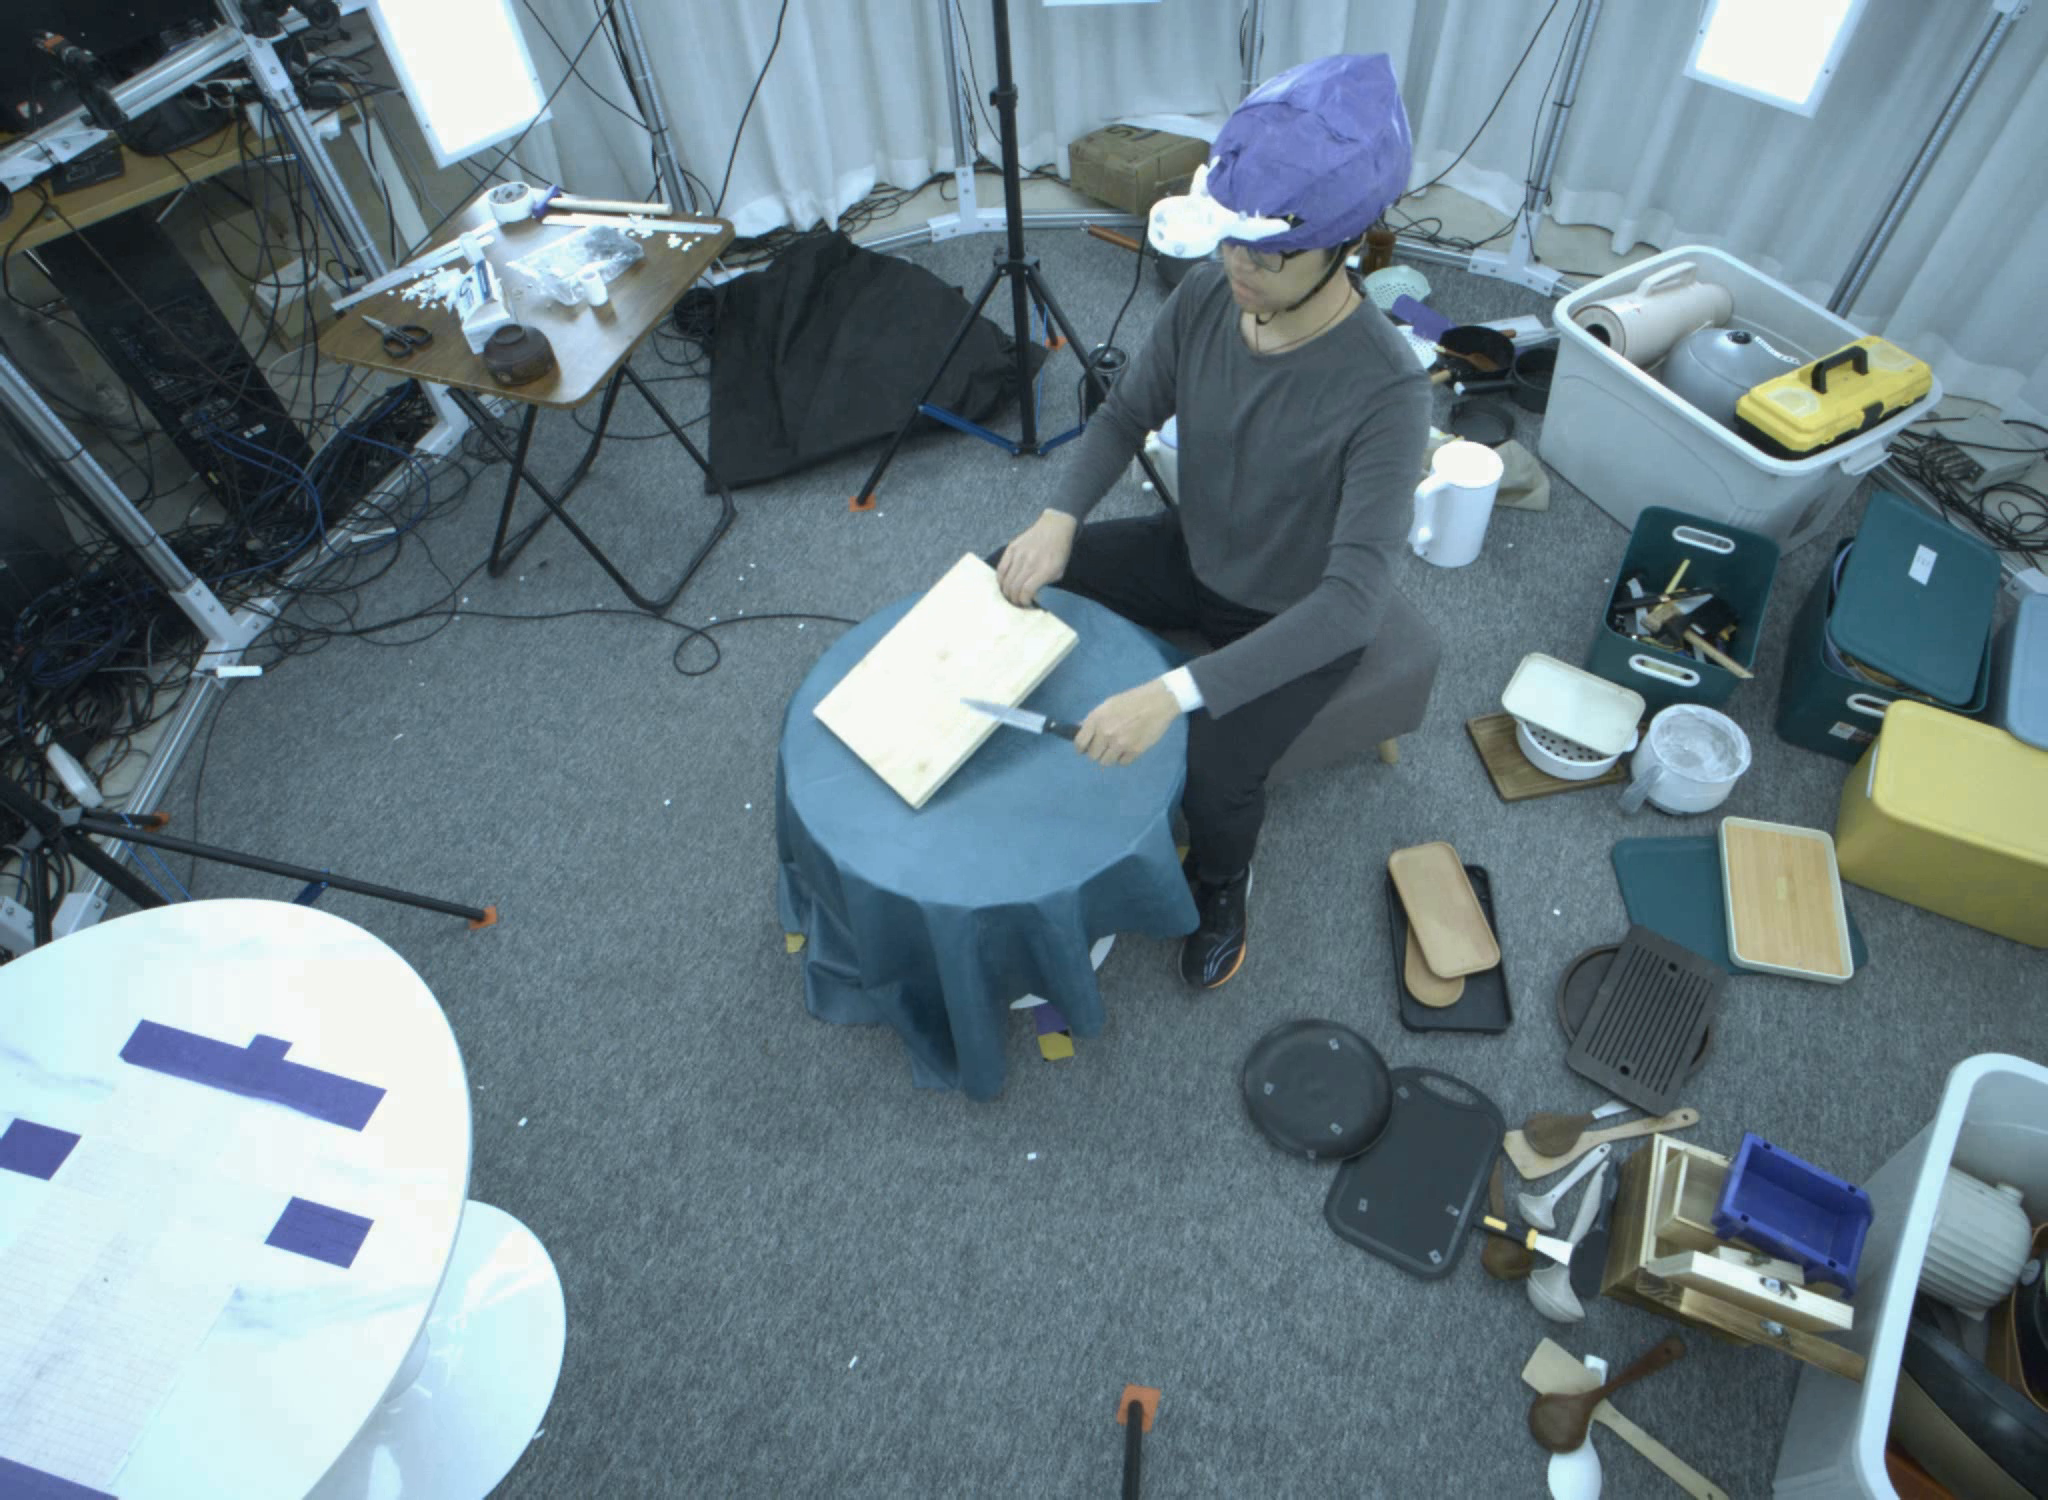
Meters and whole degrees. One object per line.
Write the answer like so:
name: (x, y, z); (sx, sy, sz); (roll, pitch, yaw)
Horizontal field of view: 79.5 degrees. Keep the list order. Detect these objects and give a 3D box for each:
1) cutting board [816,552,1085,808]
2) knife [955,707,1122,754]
cutting board: (-0.114, -0.110, 1.804); (0.246, 0.024, 0.349); (40, 82, 25)
knife: (0.018, -0.031, 1.626); (0.235, 0.016, 0.024); (14, 83, 14)
